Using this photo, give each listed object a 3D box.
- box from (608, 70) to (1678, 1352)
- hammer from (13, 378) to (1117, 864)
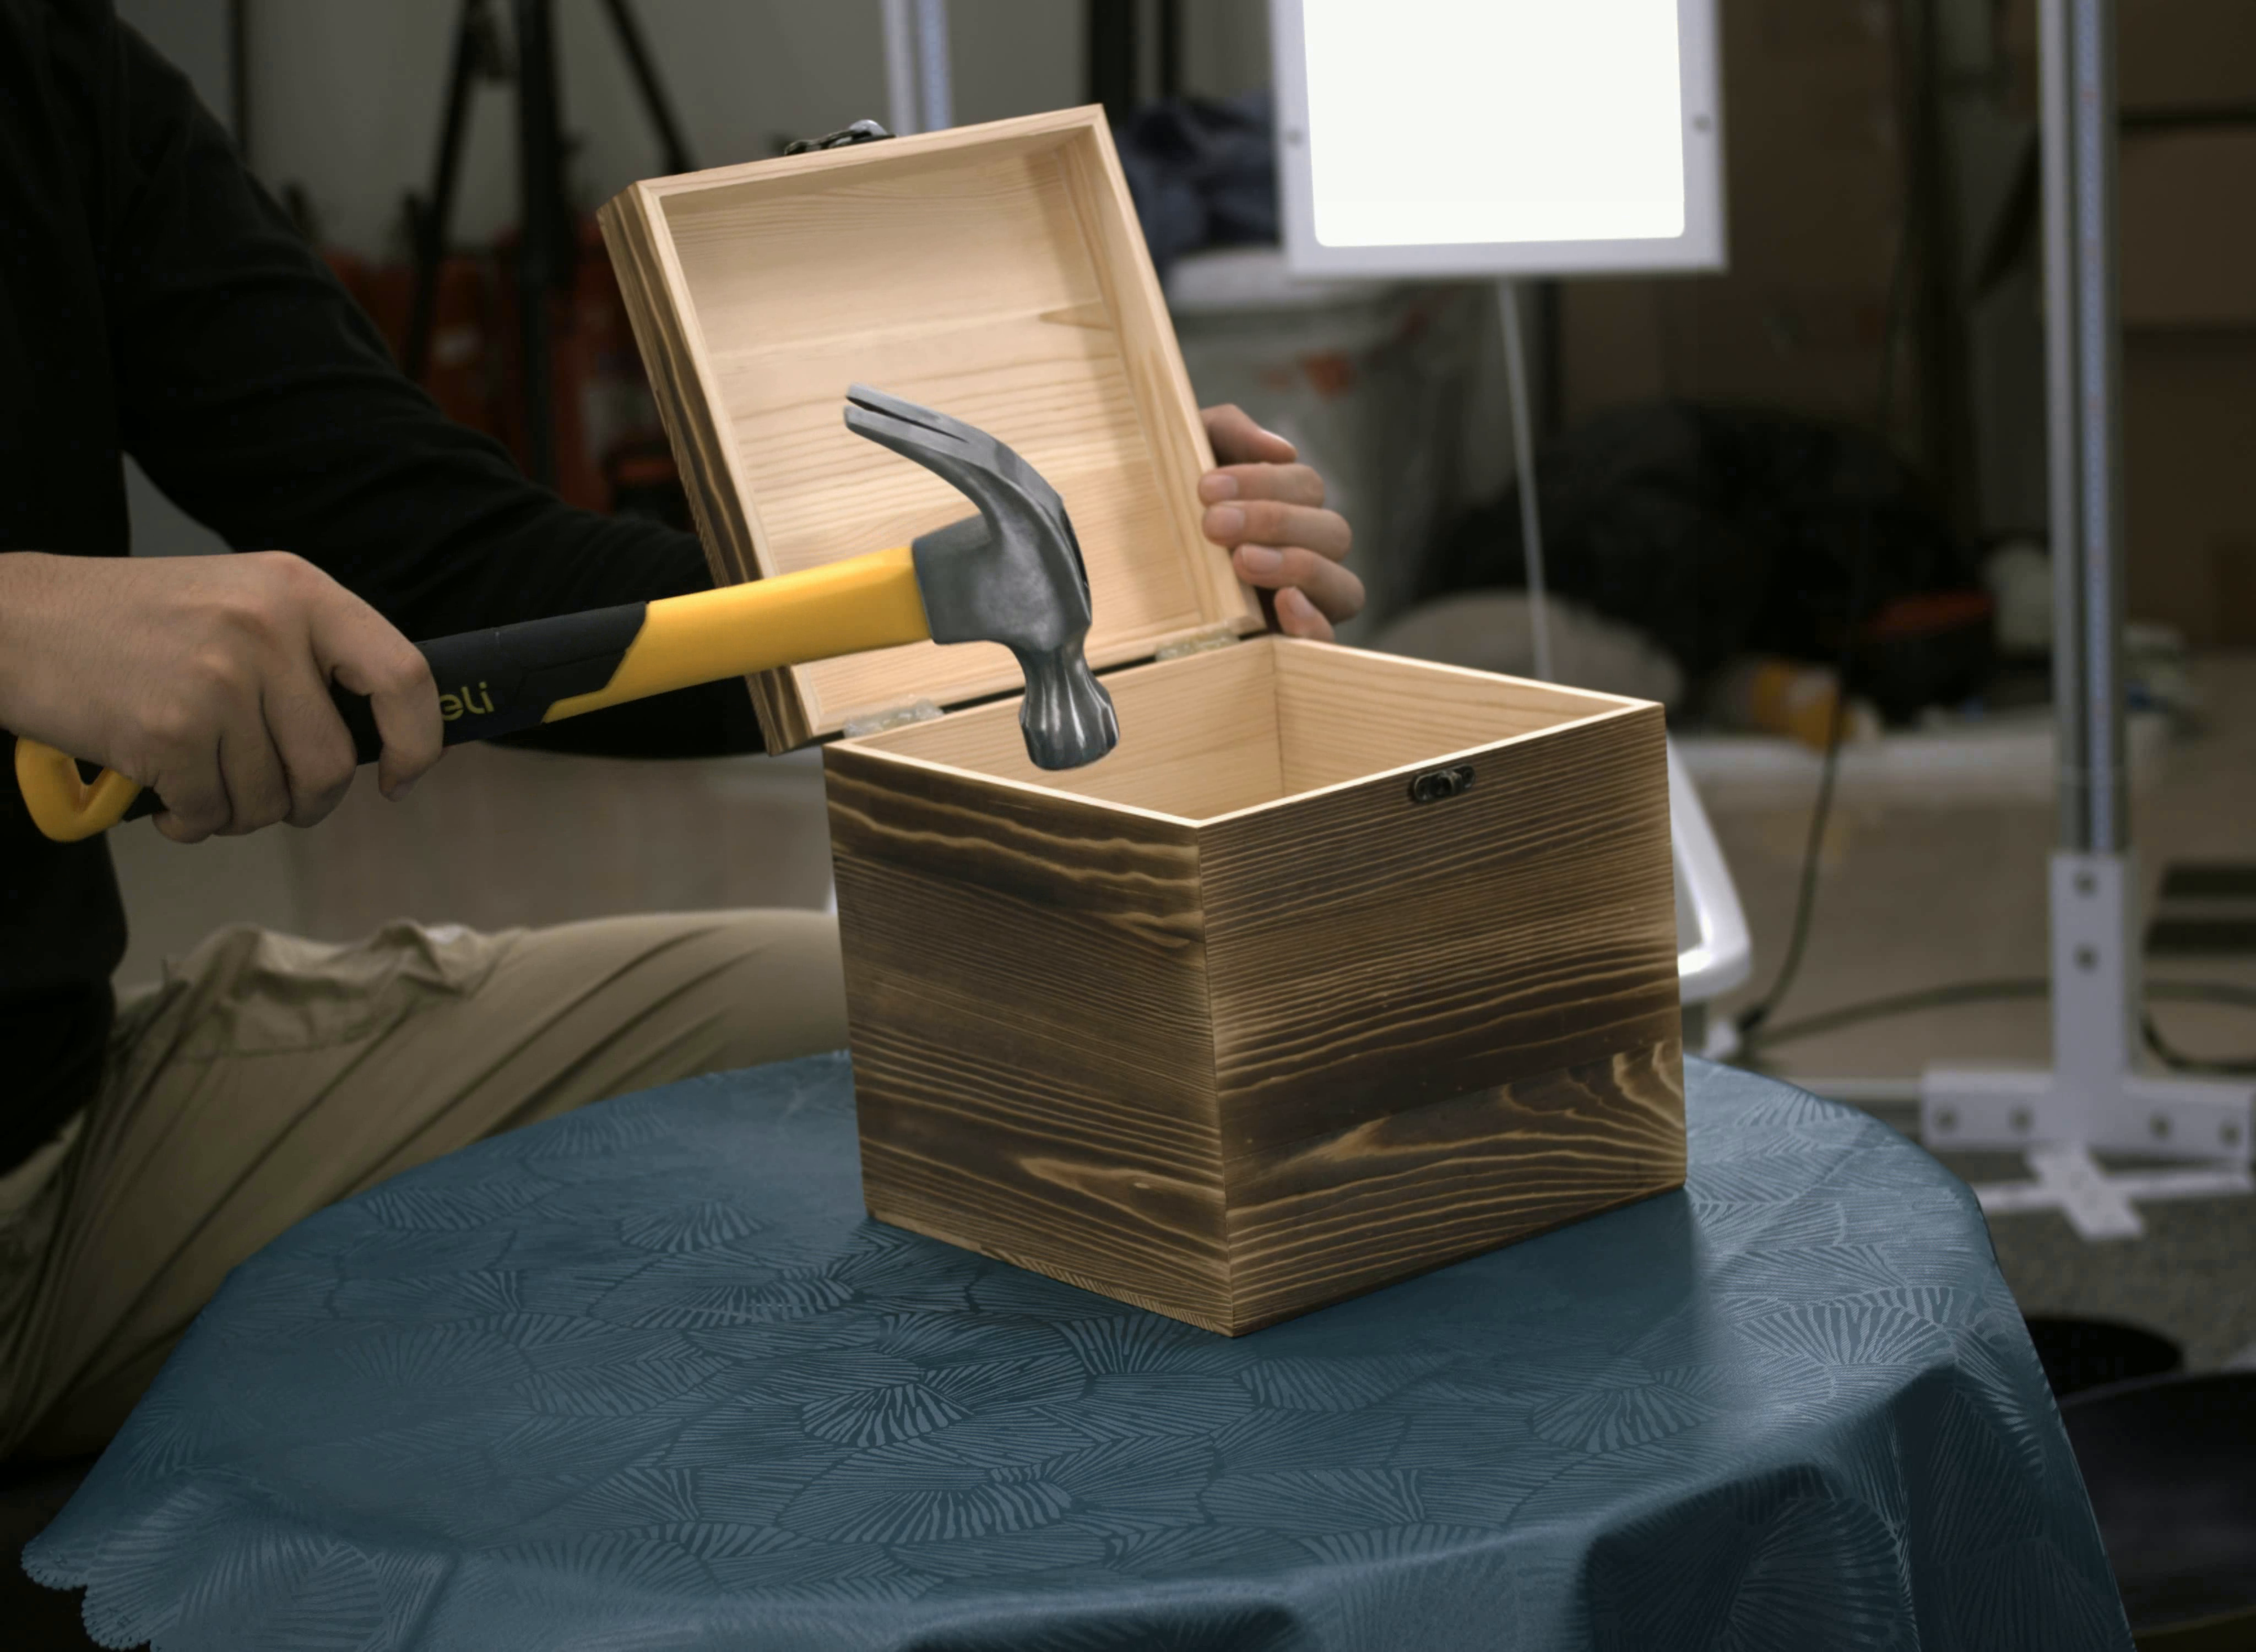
[{"bbox_3d":[0.004,-0.056,1.868,0.203,0.377,0.329,-15,18,-35],"label":"box"},{"bbox_3d":[-0.180,-0.047,1.709,0.339,0.131,0.032,-14,26,5],"label":"hammer"}]
